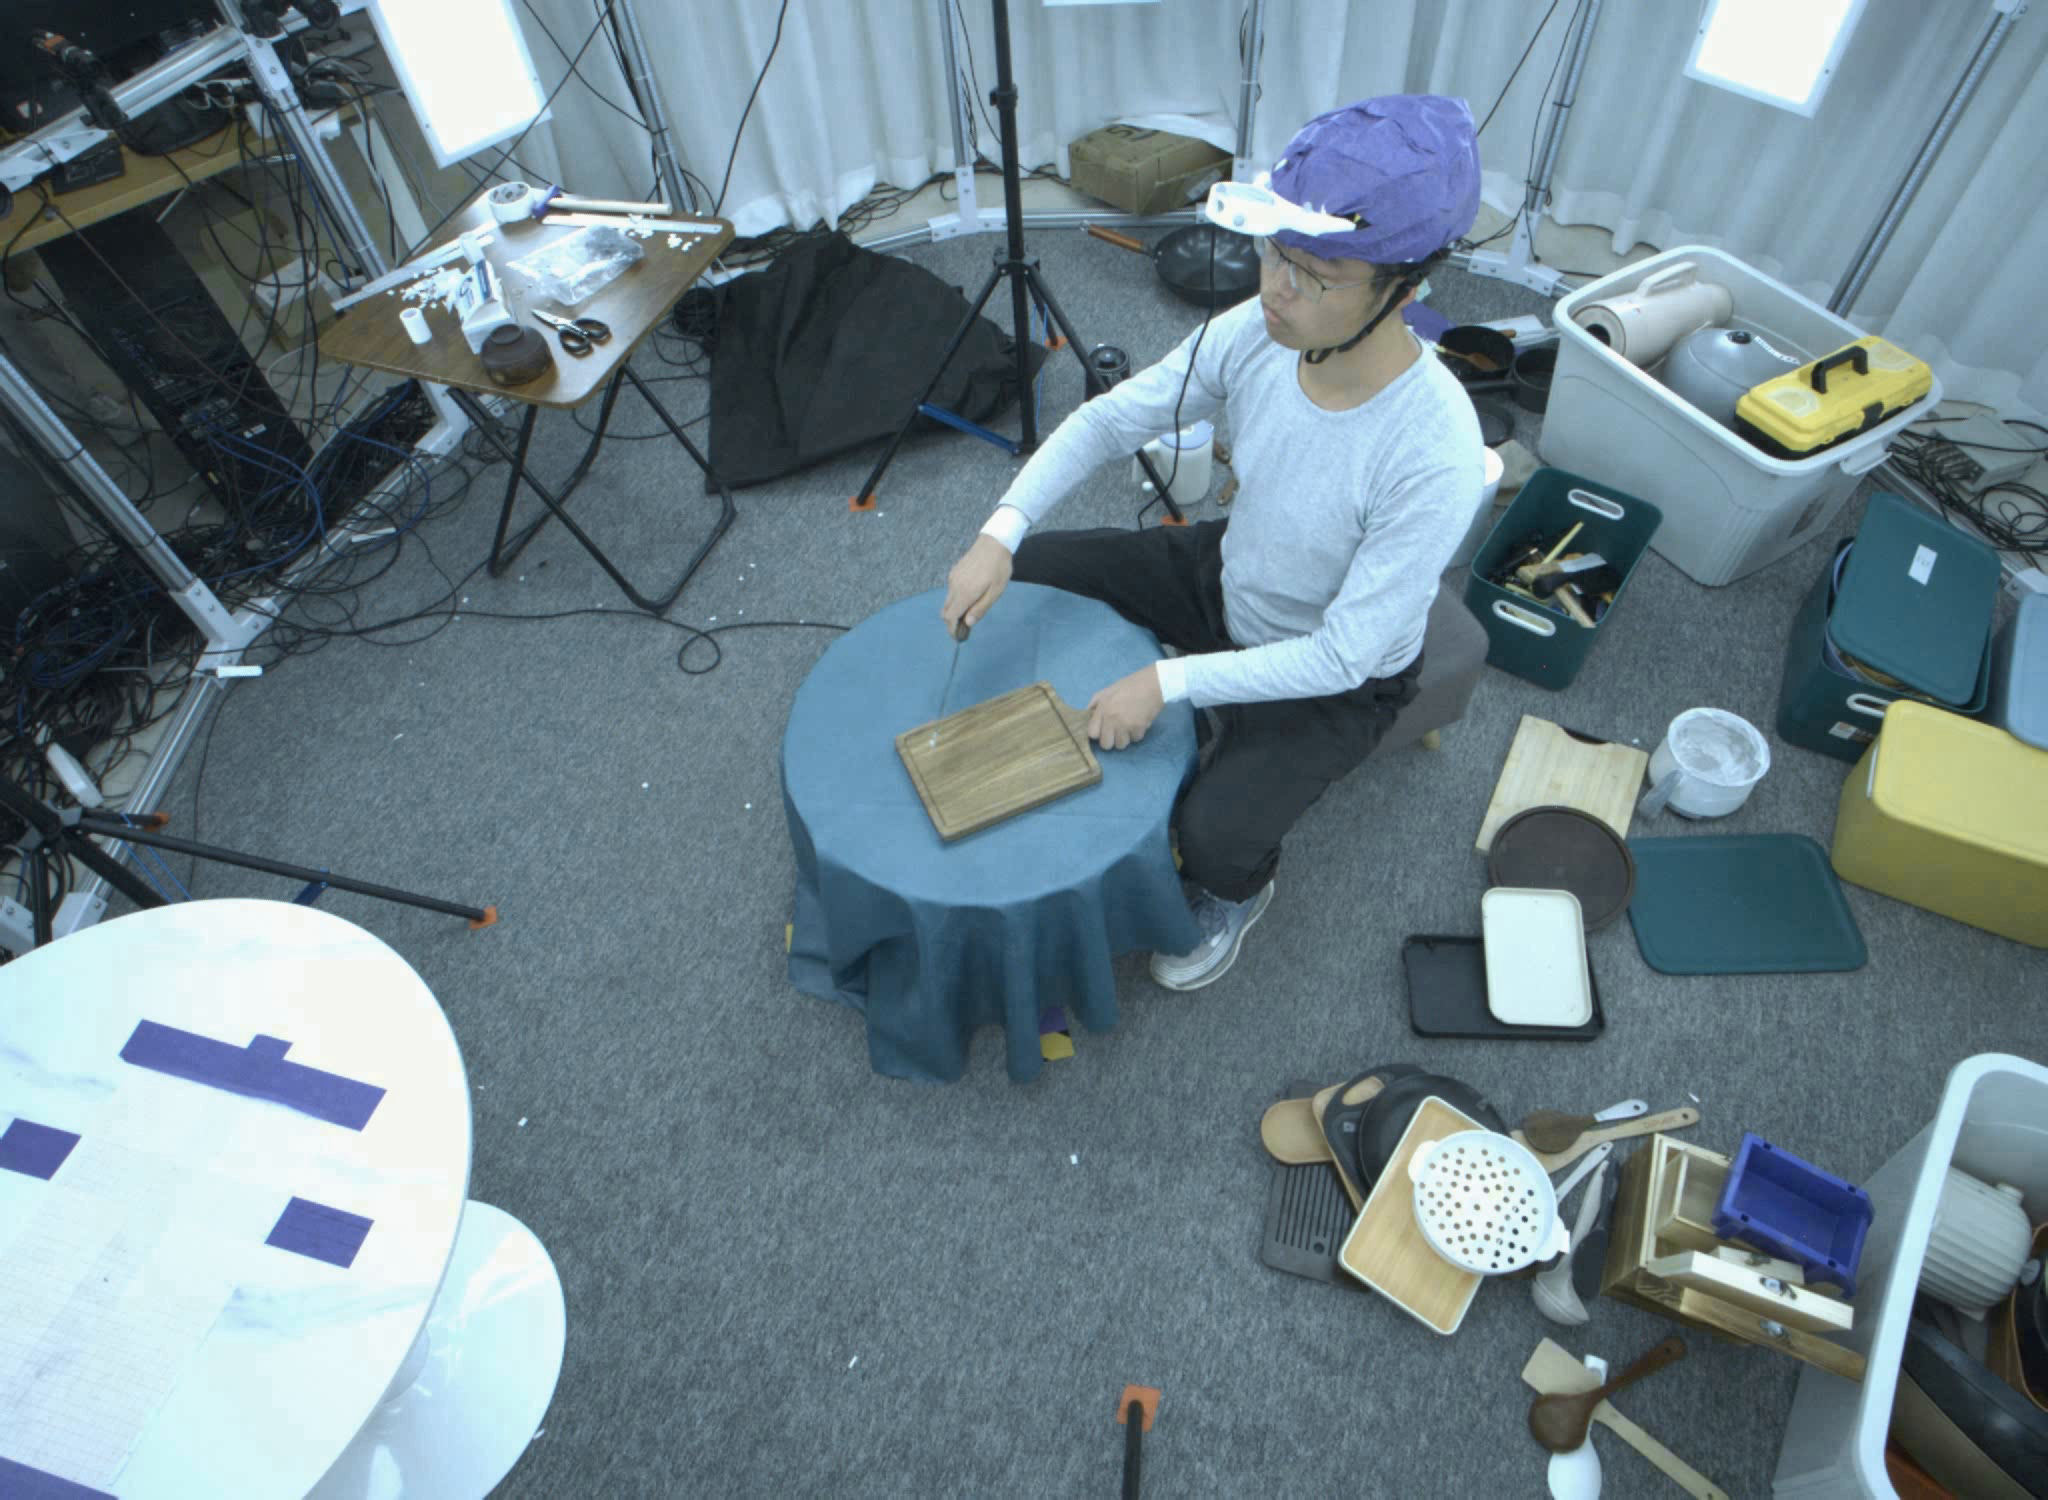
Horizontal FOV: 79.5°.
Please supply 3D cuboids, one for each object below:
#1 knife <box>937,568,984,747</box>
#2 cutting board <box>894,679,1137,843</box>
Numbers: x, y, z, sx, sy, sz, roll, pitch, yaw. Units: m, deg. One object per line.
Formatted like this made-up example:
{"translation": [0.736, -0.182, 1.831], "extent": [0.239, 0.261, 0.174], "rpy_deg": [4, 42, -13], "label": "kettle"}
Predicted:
{"translation": [-0.095, -0.136, 1.775], "extent": [0.020, 0.050, 0.288], "rpy_deg": [11, 69, 2], "label": "knife"}
{"translation": [0.006, -0.007, 1.788], "extent": [0.355, 0.023, 0.197], "rpy_deg": [-22, 57, -13], "label": "cutting board"}
